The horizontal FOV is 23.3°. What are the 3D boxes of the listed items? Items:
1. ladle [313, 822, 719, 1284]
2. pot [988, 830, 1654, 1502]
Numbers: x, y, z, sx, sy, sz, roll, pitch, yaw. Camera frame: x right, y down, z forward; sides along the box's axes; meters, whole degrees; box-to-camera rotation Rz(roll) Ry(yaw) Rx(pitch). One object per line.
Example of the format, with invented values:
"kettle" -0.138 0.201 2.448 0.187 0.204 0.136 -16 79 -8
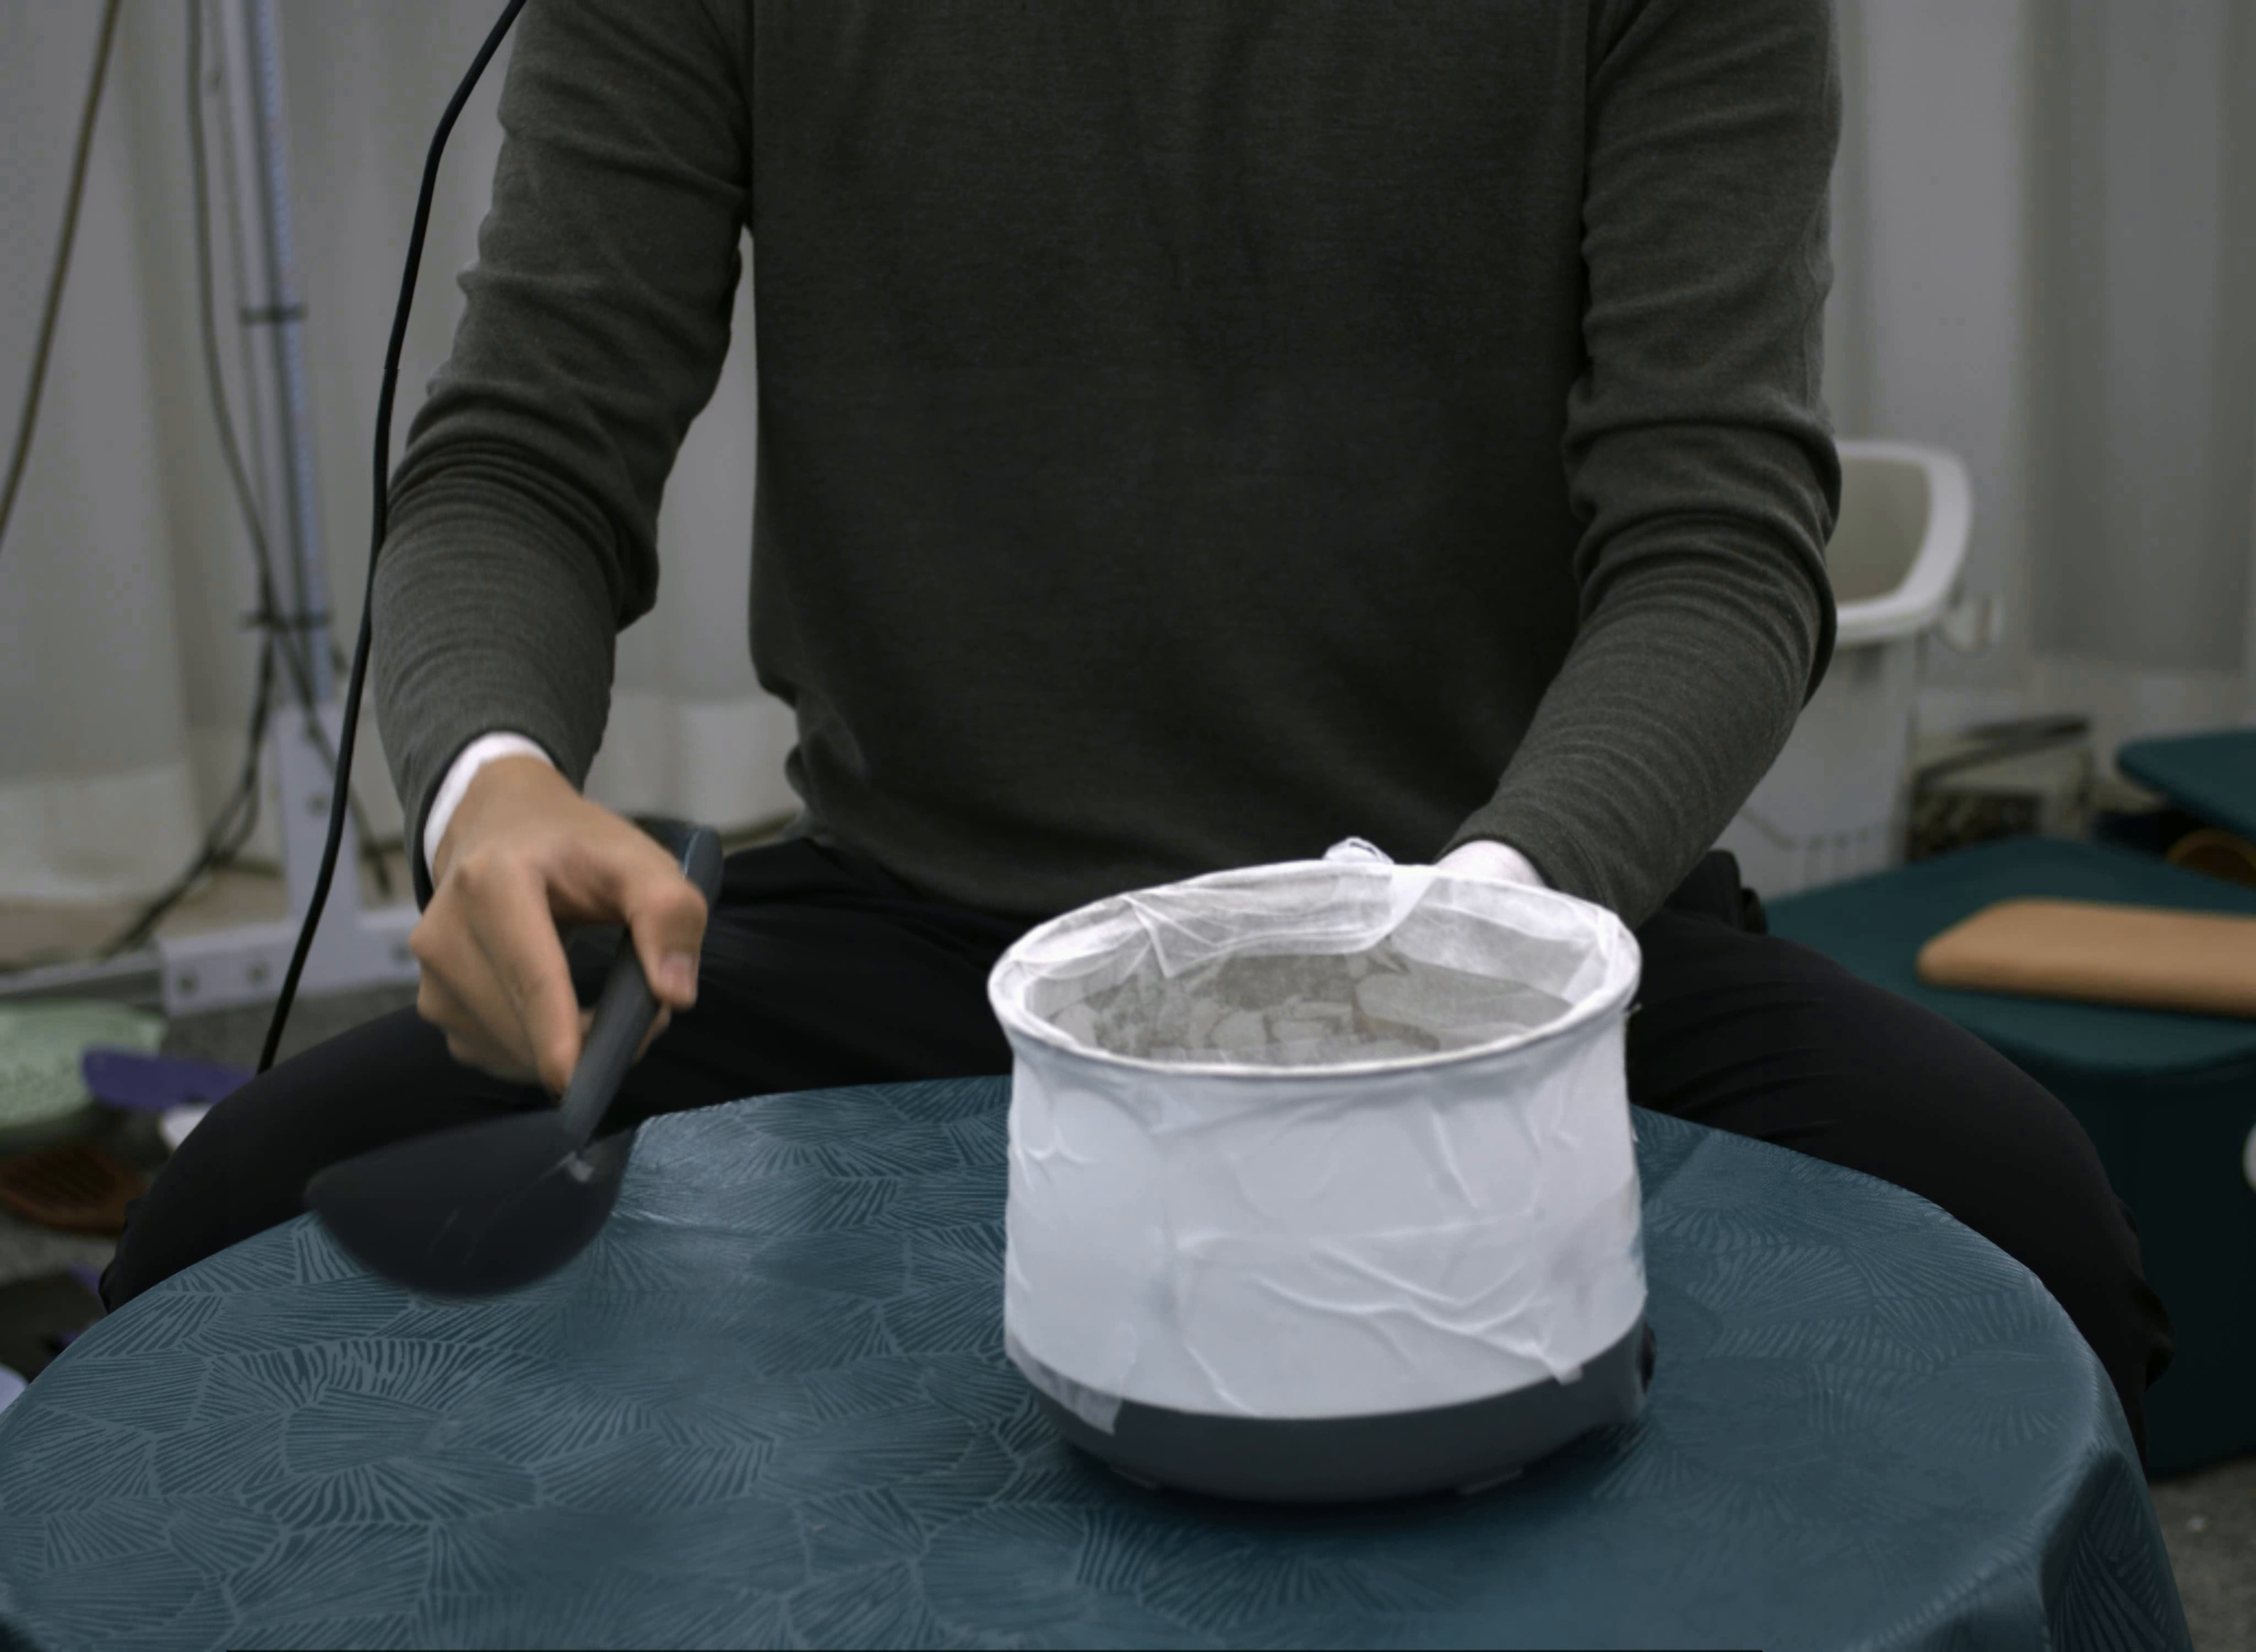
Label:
"ladle" -0.156 0.044 1.562 0.086 0.063 0.317 -8 22 10
"pot" 0.057 0.088 1.519 0.178 0.136 0.235 0 17 8
